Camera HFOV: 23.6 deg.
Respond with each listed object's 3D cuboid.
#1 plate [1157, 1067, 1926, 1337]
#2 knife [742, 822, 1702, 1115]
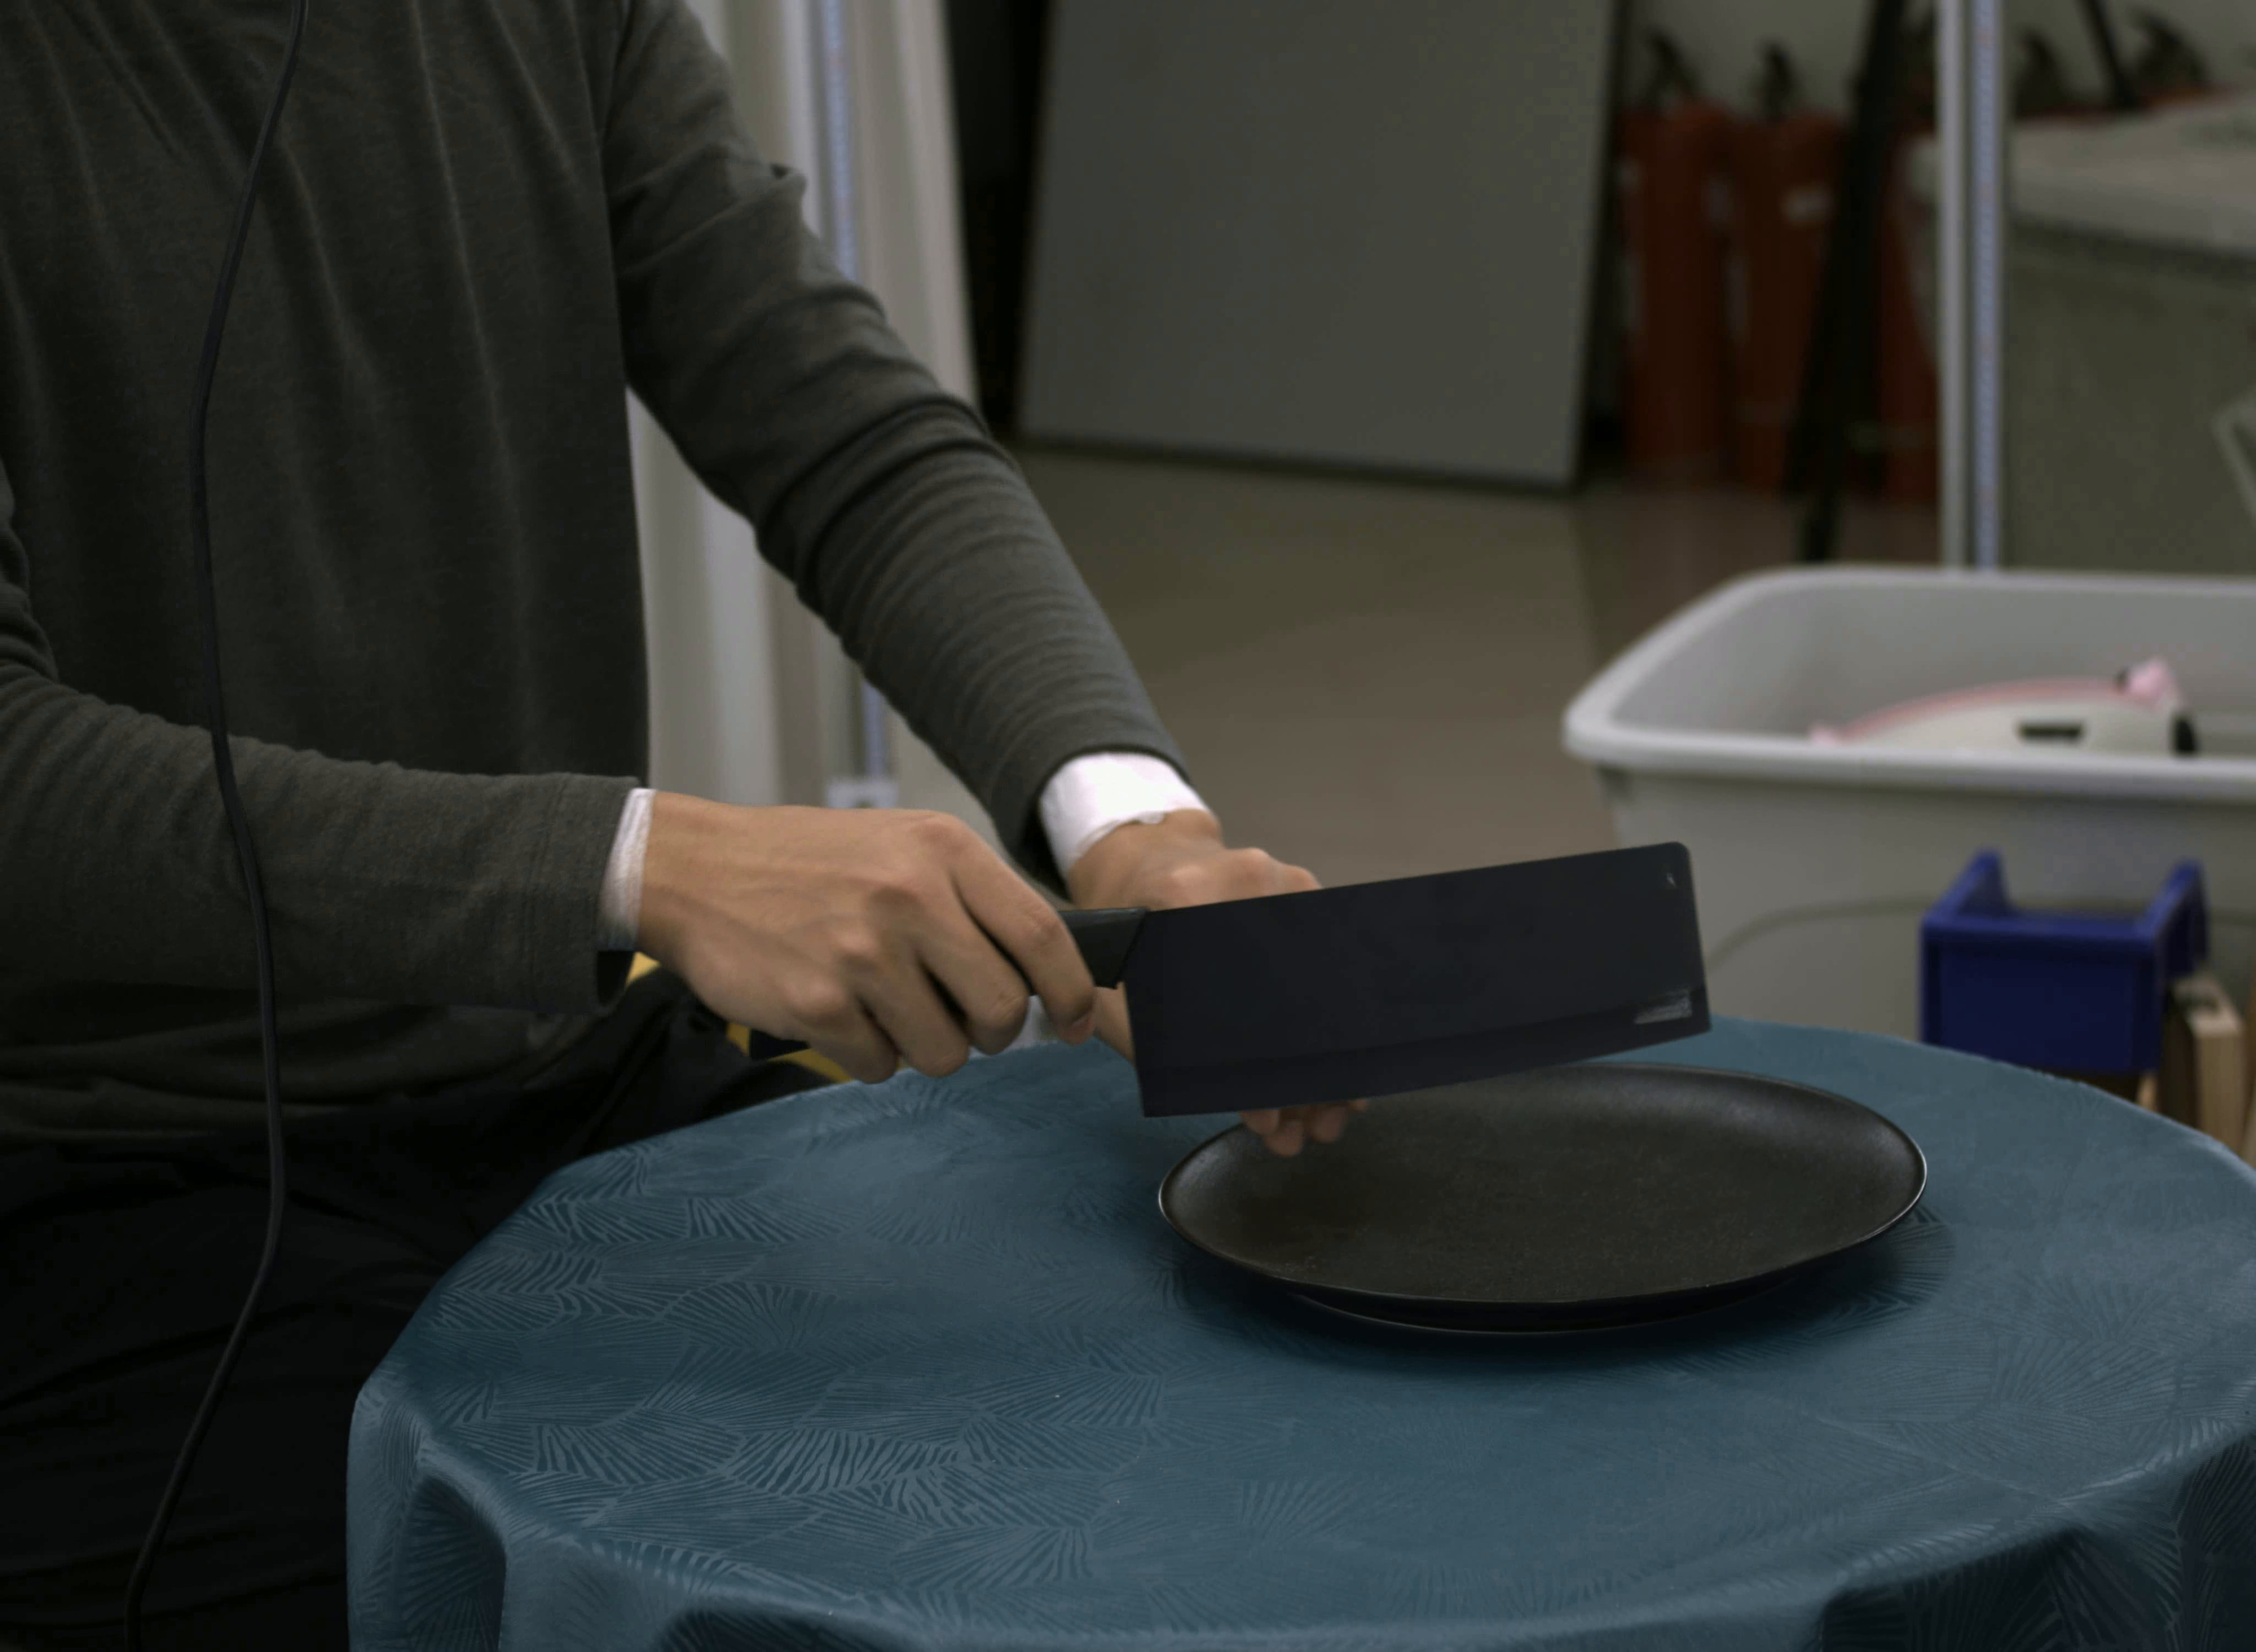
[{"bbox_3d":[0.130,0.120,1.693,0.241,0.024,0.245,-4,13,0],"label":"plate"},{"bbox_3d":[0.027,0.049,1.666,0.300,0.082,0.021,-4,1,9],"label":"knife"}]
